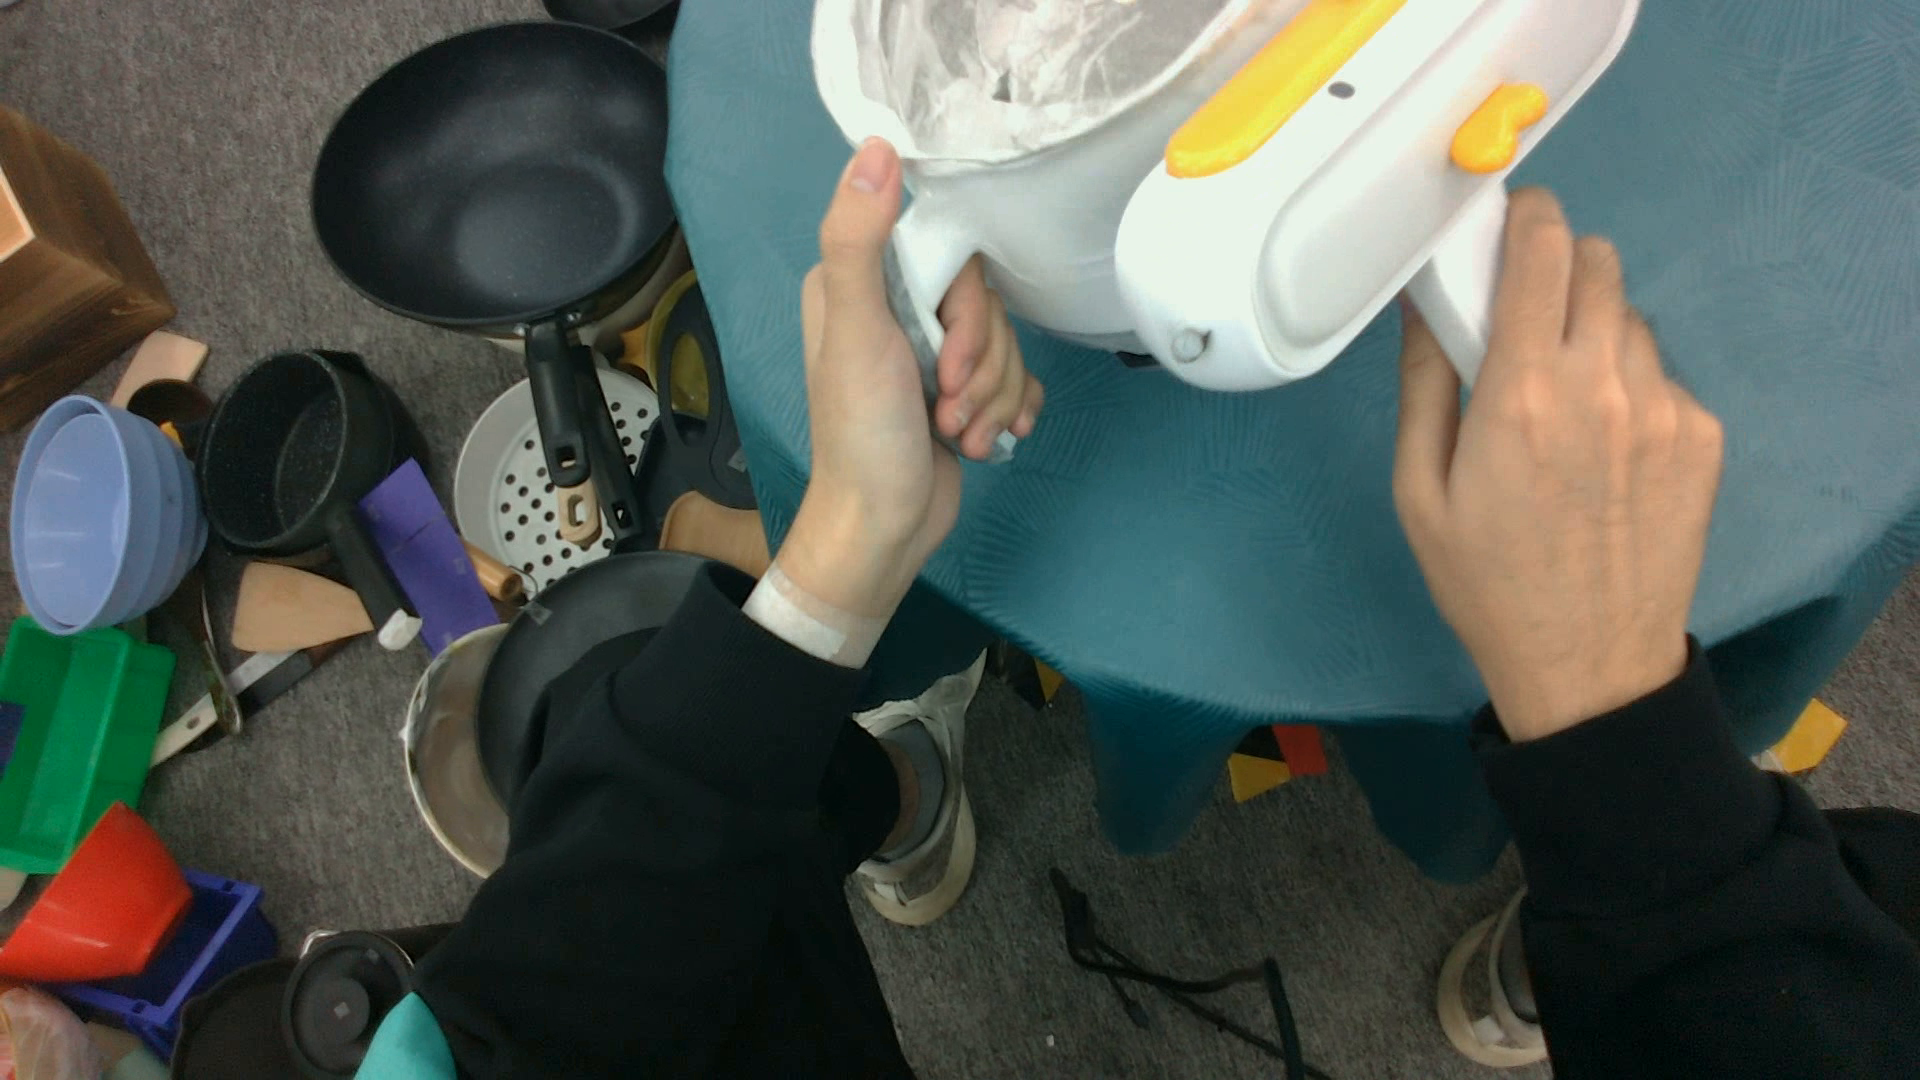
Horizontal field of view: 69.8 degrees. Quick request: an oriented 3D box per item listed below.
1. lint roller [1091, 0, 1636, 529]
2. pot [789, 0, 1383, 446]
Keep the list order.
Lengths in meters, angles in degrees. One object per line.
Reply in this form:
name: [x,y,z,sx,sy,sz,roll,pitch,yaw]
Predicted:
lint roller: [0.149,-0.078,0.425,0.193,0.192,0.074,-51,32,-19]
pot: [0.035,-0.150,0.476,0.178,0.136,0.234,29,83,40]
